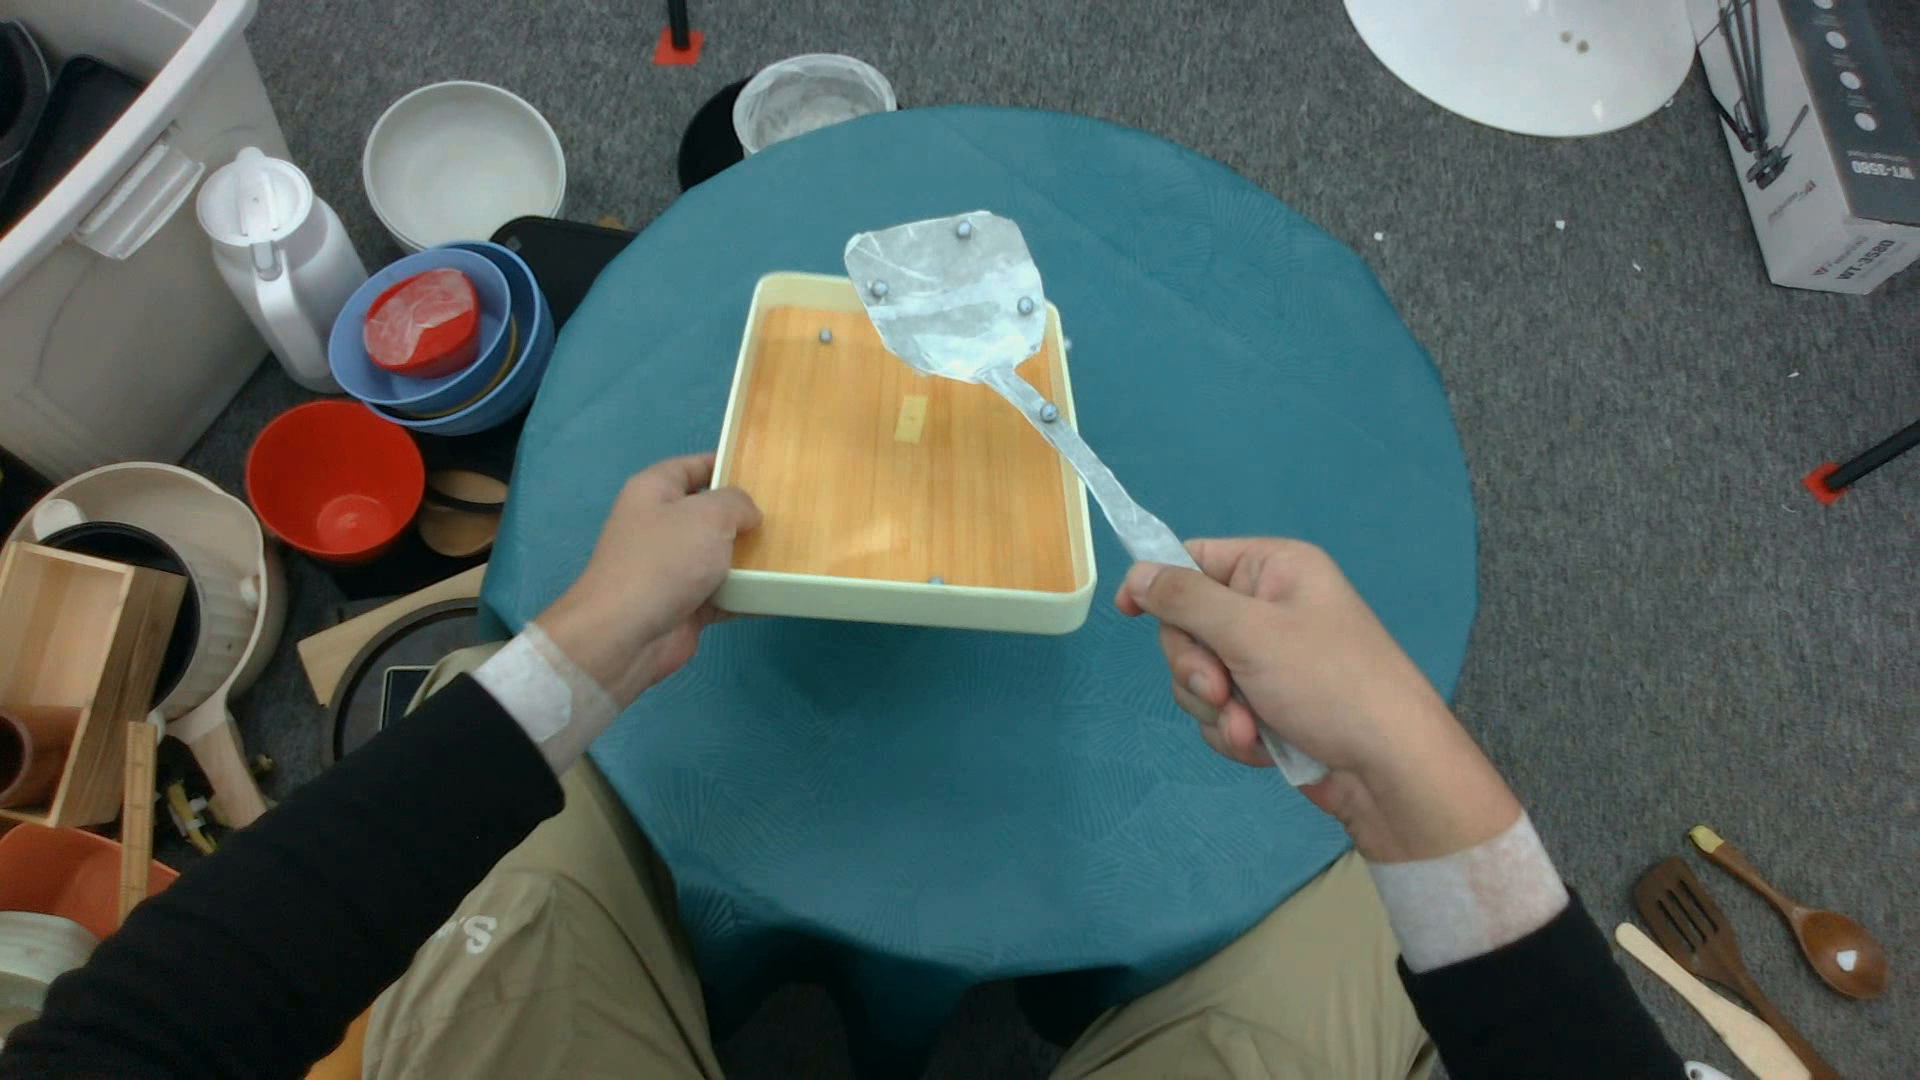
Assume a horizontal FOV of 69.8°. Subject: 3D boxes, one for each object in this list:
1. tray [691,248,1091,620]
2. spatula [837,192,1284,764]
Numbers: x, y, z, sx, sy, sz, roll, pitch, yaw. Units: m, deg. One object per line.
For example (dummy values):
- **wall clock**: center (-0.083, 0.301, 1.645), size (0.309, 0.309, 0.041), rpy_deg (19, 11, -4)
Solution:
- **tray**: center (-0.034, -0.071, 0.758), size (0.191, 0.027, 0.301), rpy_deg (5, 39, -5)
- **spatula**: center (0.046, -0.051, 0.602), size (0.099, 0.044, 0.366), rpy_deg (-14, 43, -19)
